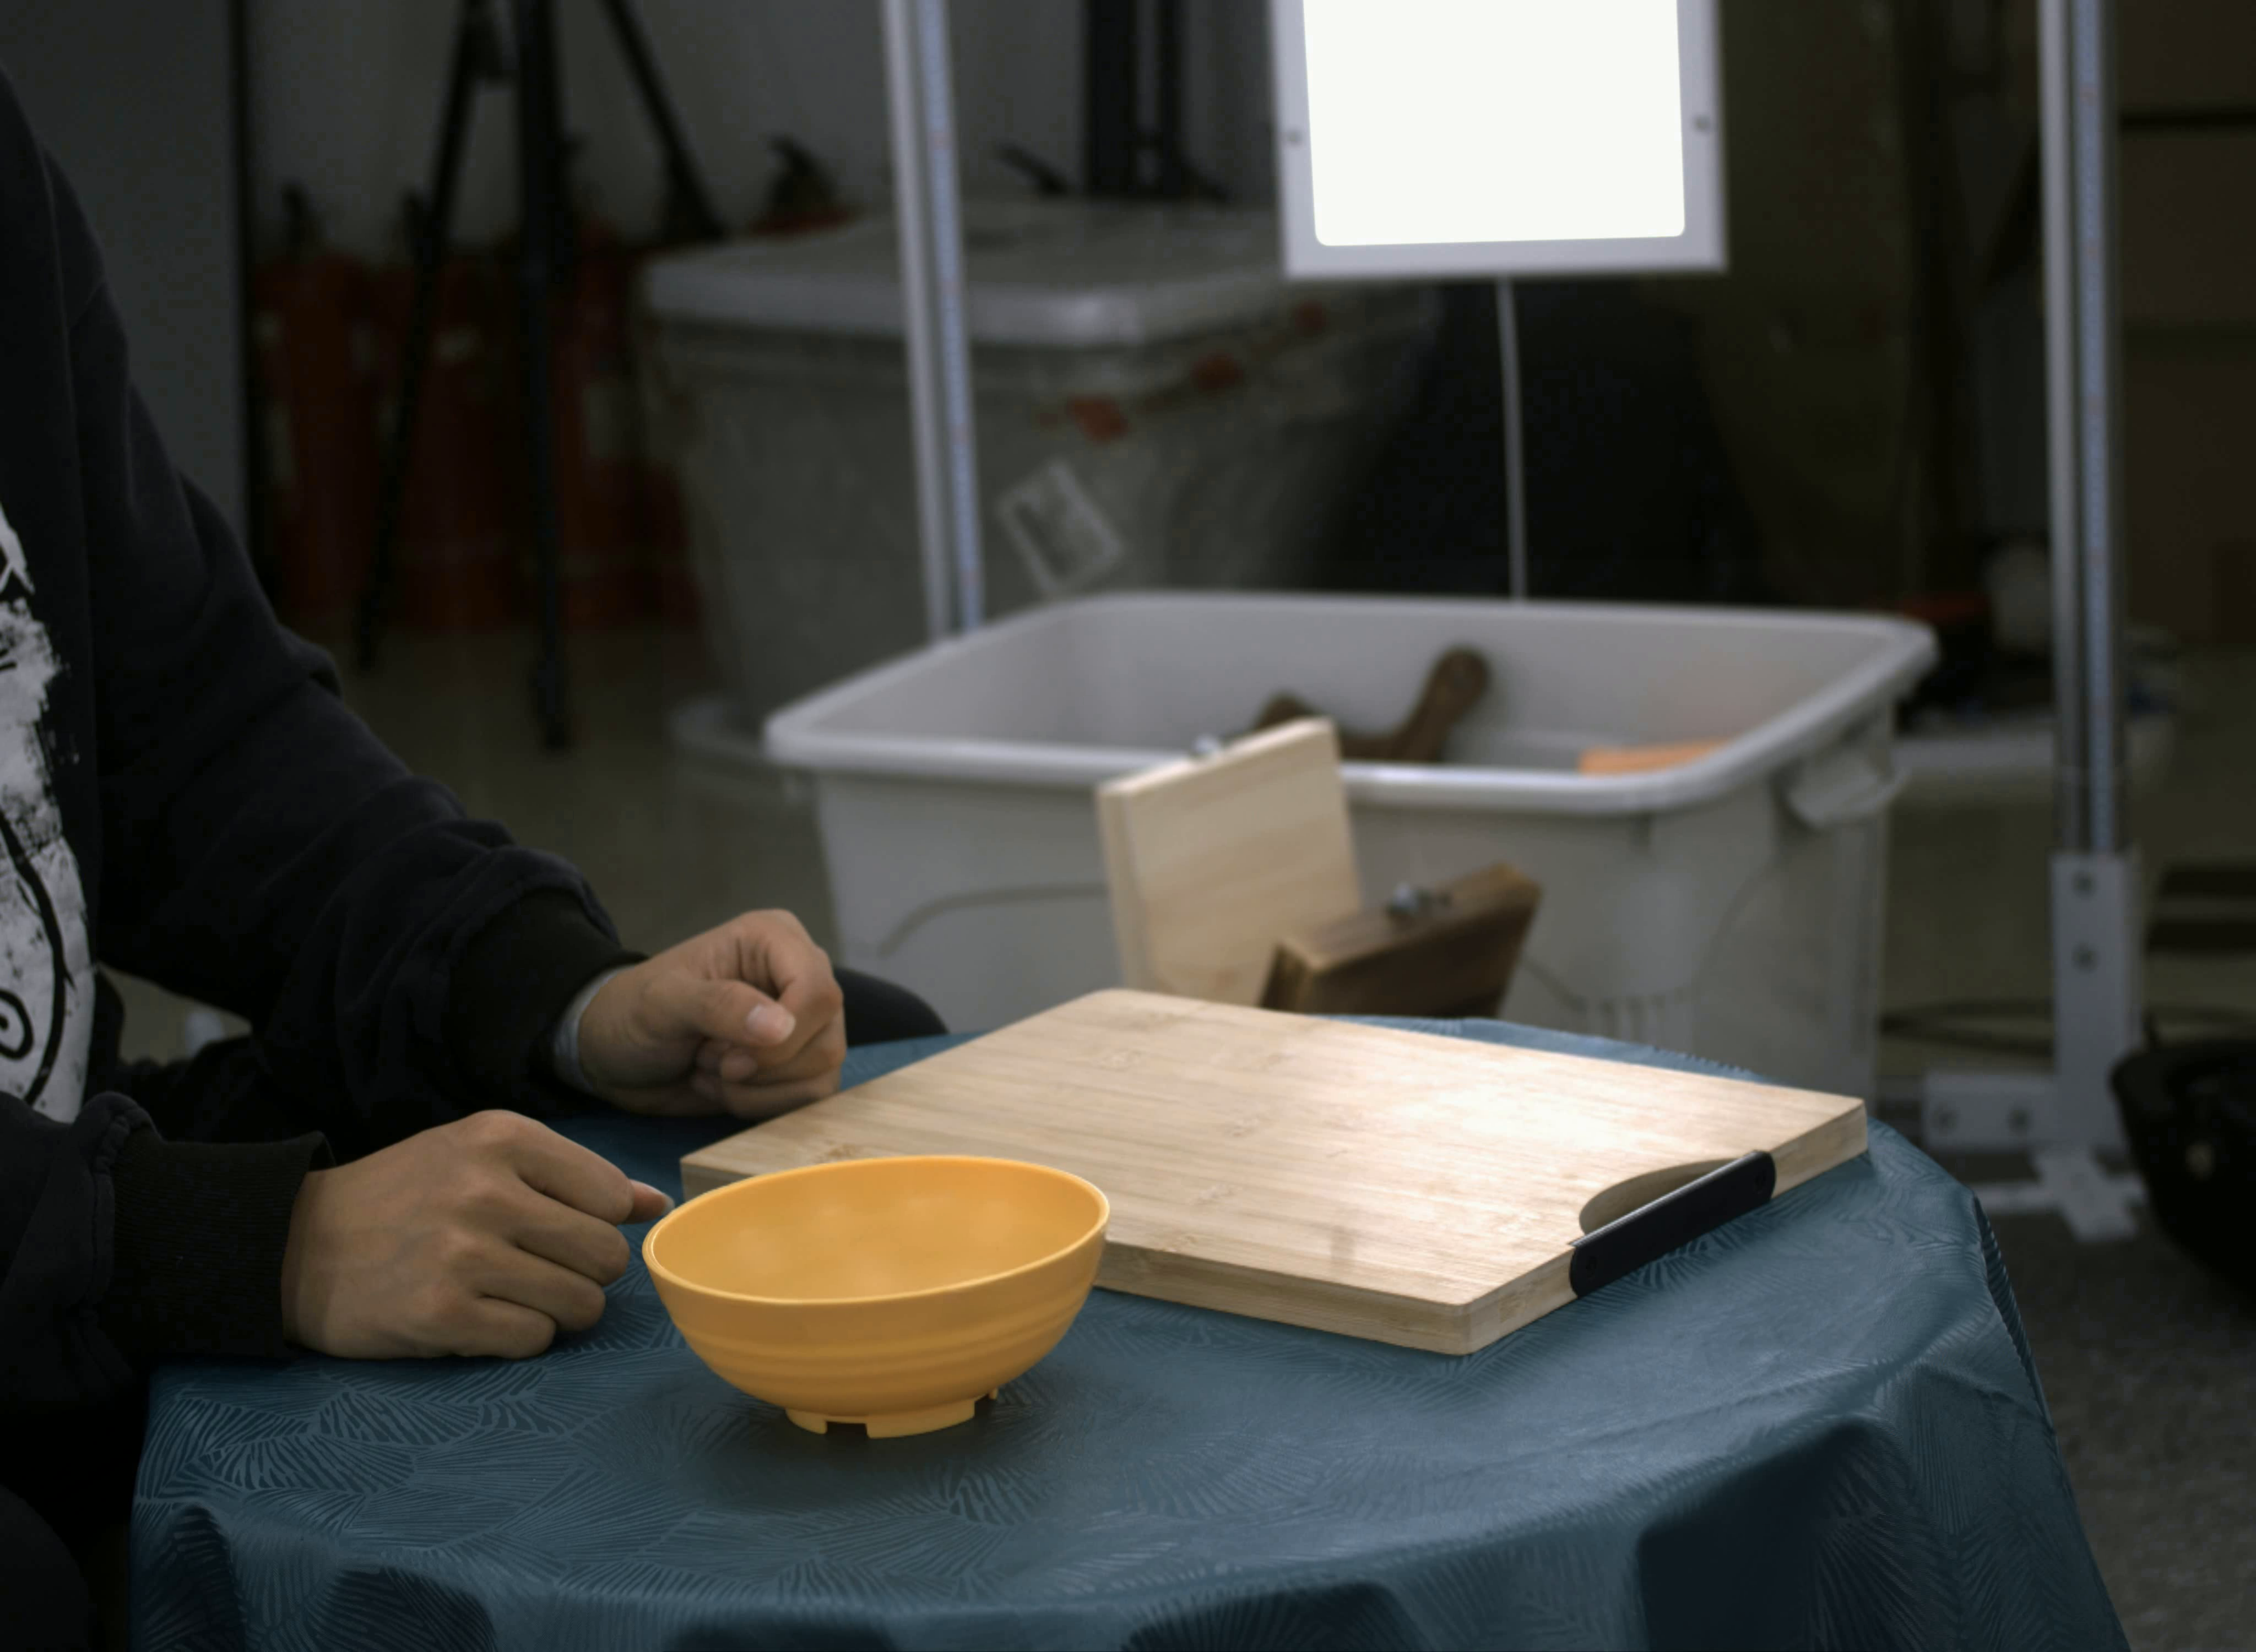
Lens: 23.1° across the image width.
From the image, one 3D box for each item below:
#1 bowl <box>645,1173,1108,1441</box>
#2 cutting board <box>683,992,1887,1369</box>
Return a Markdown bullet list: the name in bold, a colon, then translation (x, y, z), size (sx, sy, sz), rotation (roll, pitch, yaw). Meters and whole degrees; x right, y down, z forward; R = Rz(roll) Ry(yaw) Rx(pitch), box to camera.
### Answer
- **bowl**: translation (-0.076, 0.152, 1.702), size (0.145, 0.060, 0.145), rotation (-4, 11, -1)
- **cutting board**: translation (0.053, 0.115, 1.893), size (0.356, 0.023, 0.244), rotation (6, 18, 39)
